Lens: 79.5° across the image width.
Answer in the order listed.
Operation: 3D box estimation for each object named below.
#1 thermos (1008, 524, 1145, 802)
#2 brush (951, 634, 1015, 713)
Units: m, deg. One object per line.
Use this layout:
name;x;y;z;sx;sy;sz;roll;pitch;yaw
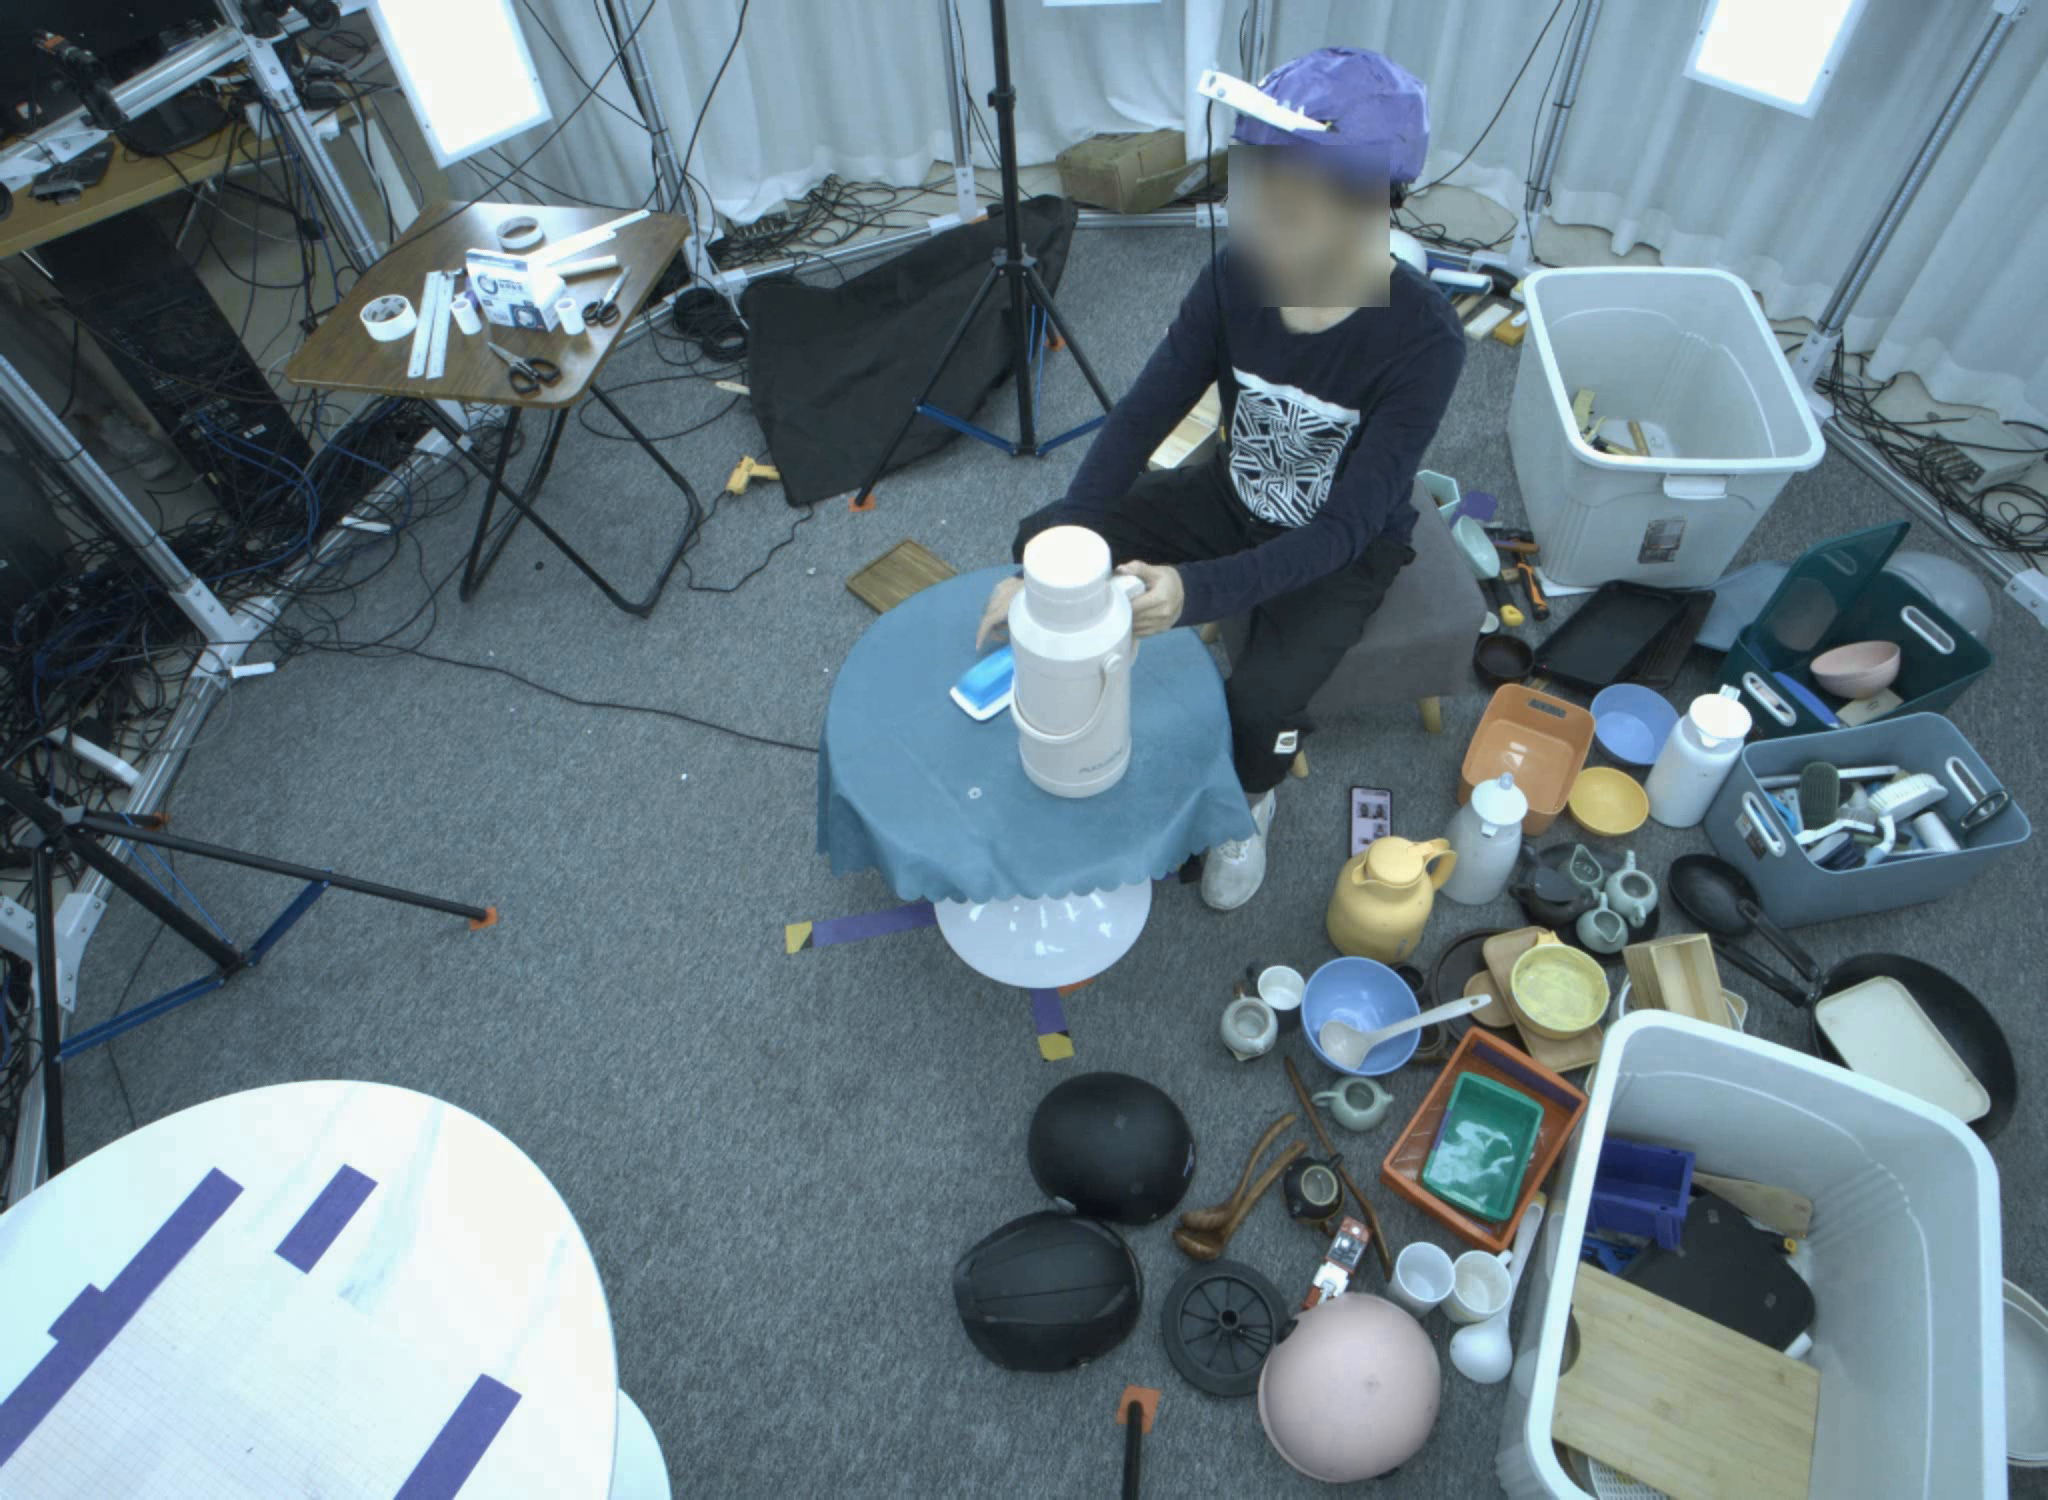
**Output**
thermos;0.074;-0.116;1.615;0.209;0.411;0.172;-35;57;-21
brush;-0.037;-0.122;1.829;0.145;0.056;0.082;-37;65;-17
